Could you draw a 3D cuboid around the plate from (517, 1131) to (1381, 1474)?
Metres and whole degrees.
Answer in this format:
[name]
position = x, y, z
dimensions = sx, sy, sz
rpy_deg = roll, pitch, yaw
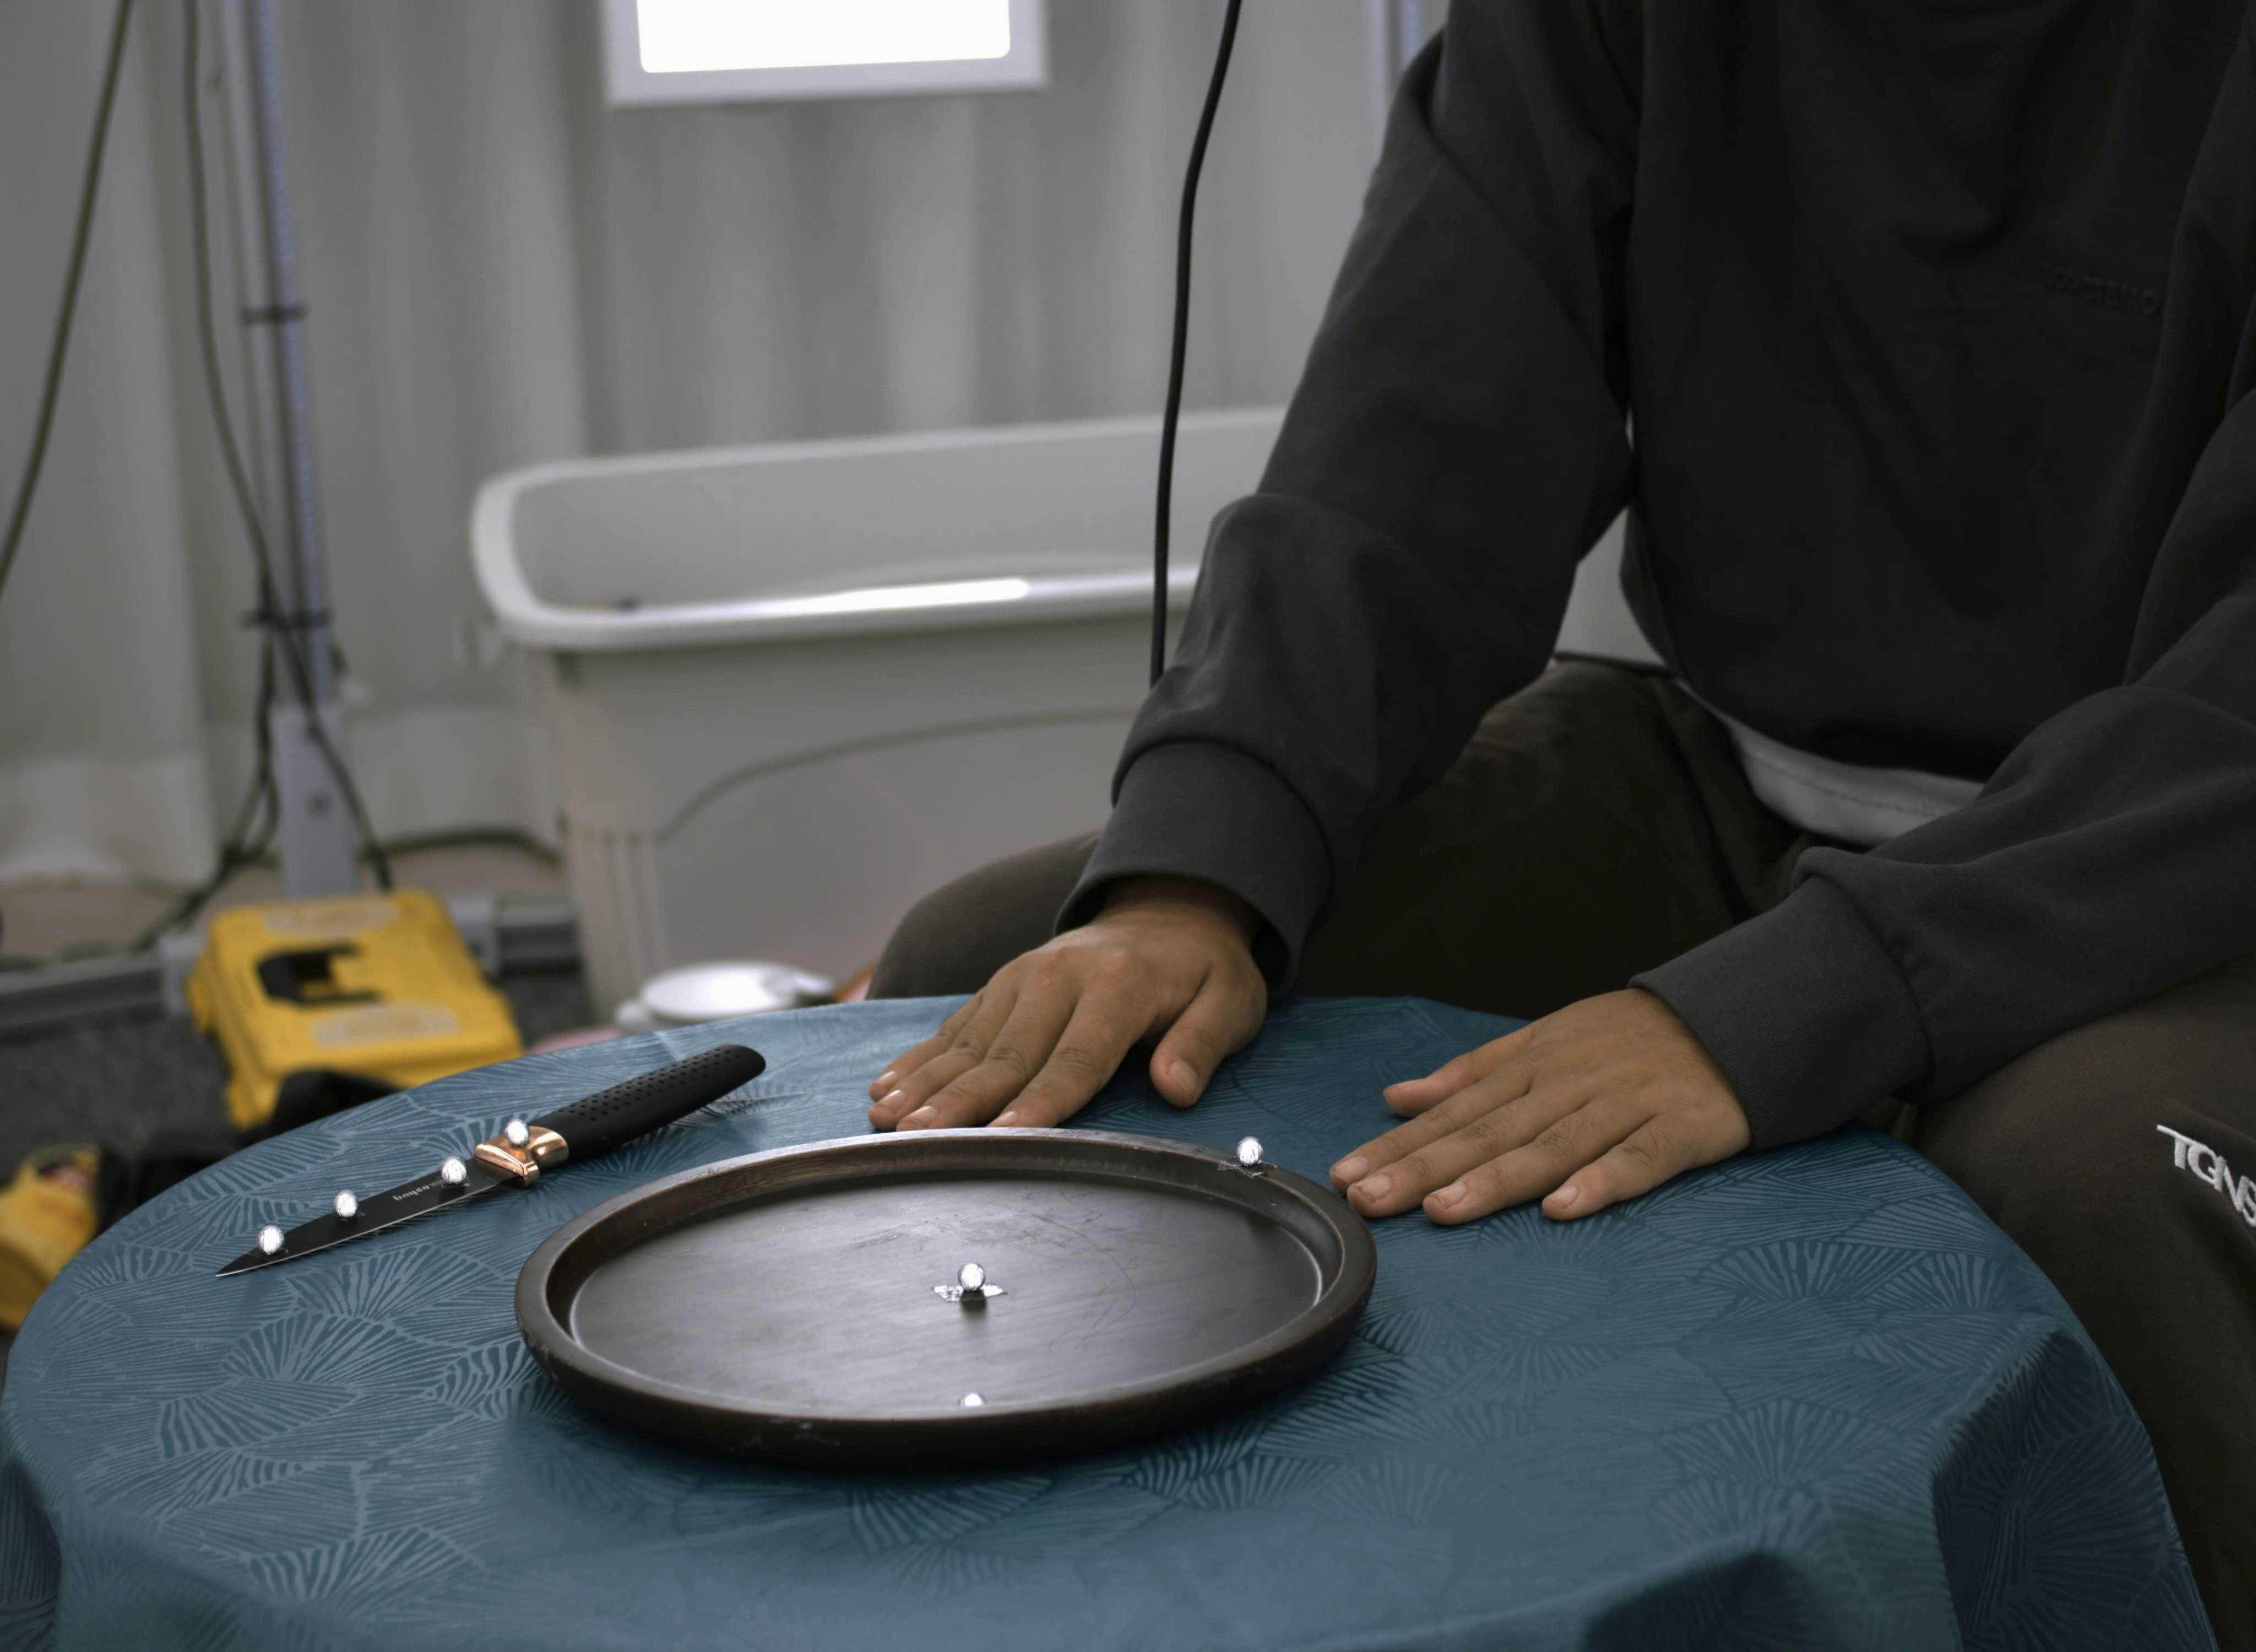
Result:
[plate]
position = -0.051, 0.137, 1.598
dimensions = 0.254, 0.029, 0.256
rpy_deg = -3, 13, 0

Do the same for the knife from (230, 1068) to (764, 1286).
[knife]
position = -0.200, 0.112, 1.744
dimensions = 0.026, 0.017, 0.225
rpy_deg = 17, 25, 40
